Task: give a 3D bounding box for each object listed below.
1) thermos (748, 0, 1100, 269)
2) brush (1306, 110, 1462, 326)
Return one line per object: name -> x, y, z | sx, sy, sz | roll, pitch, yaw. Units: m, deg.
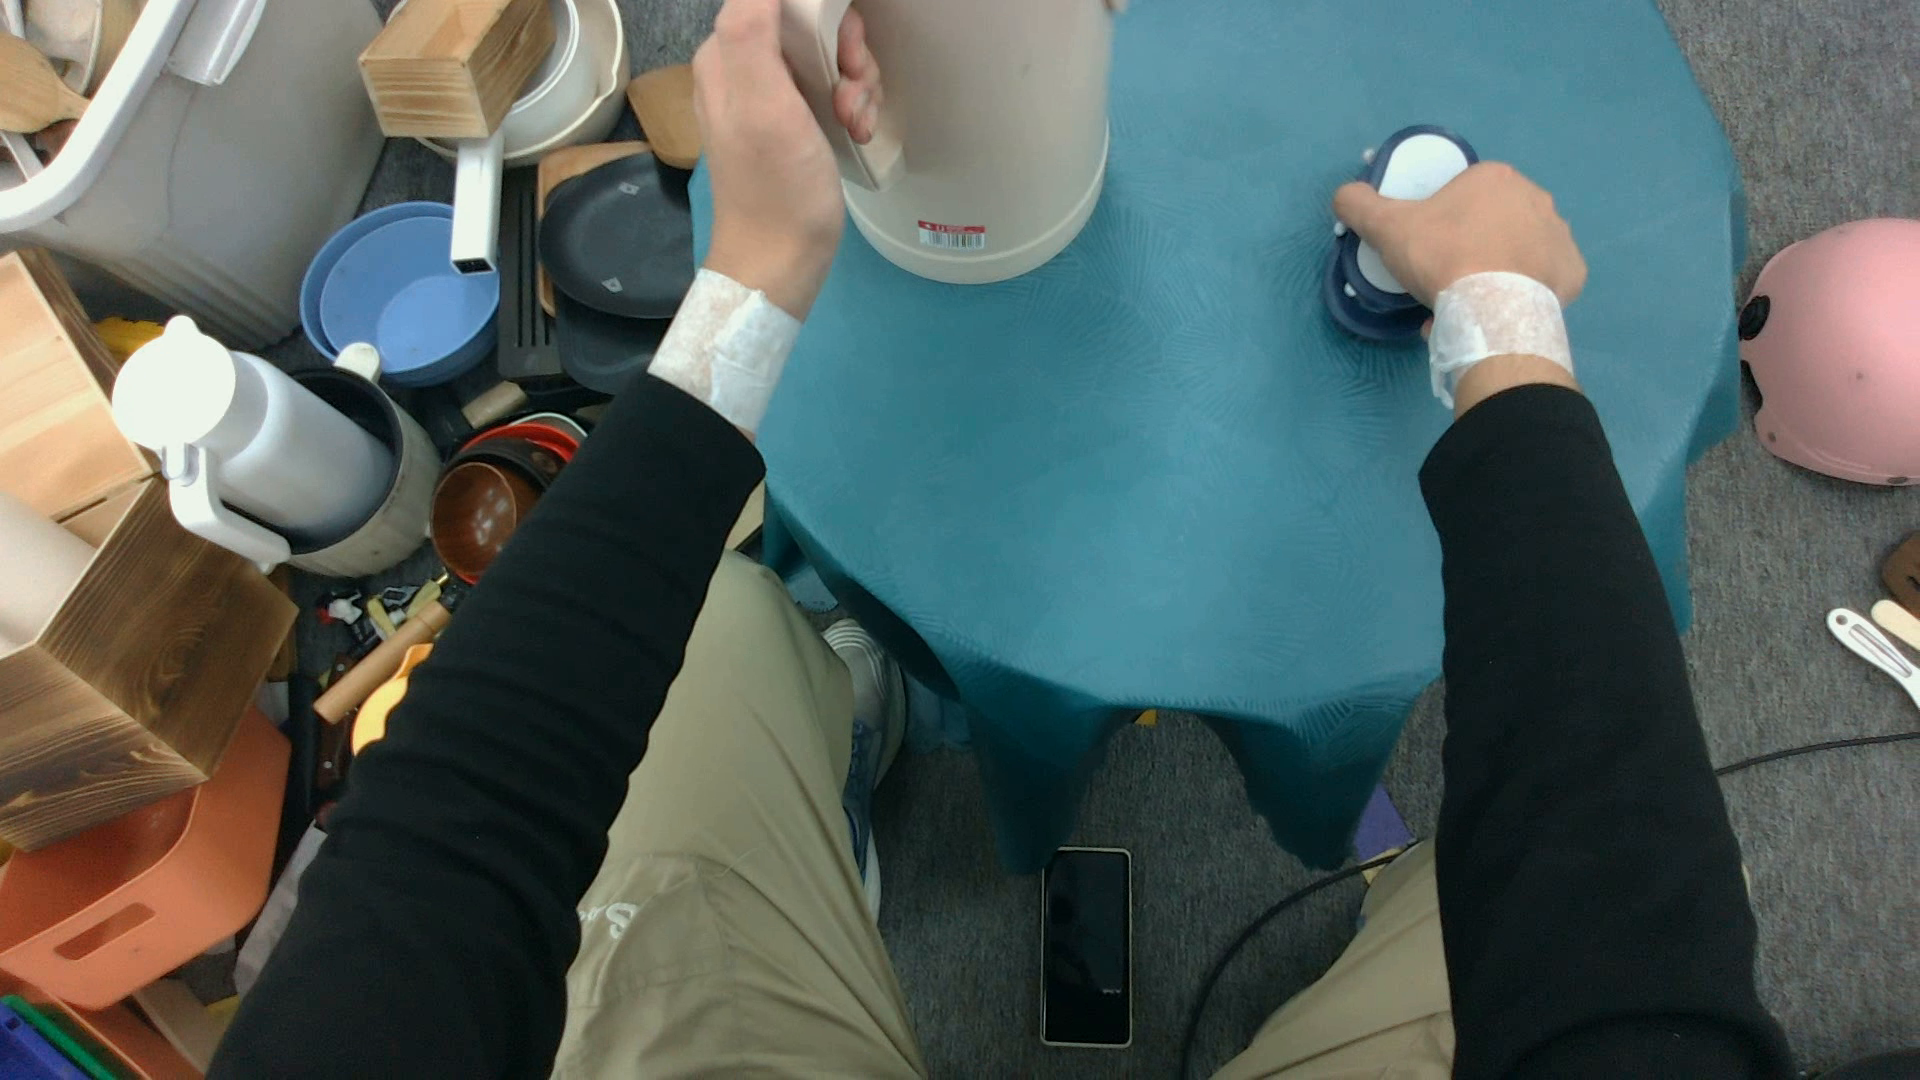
thermos -> -0.022, -0.270, 0.624 | 0.175, 0.405, 0.207 | 26, 77, 8
brush -> 0.234, -0.176, 0.764 | 0.068, 0.061, 0.122 | 23, 75, 9
